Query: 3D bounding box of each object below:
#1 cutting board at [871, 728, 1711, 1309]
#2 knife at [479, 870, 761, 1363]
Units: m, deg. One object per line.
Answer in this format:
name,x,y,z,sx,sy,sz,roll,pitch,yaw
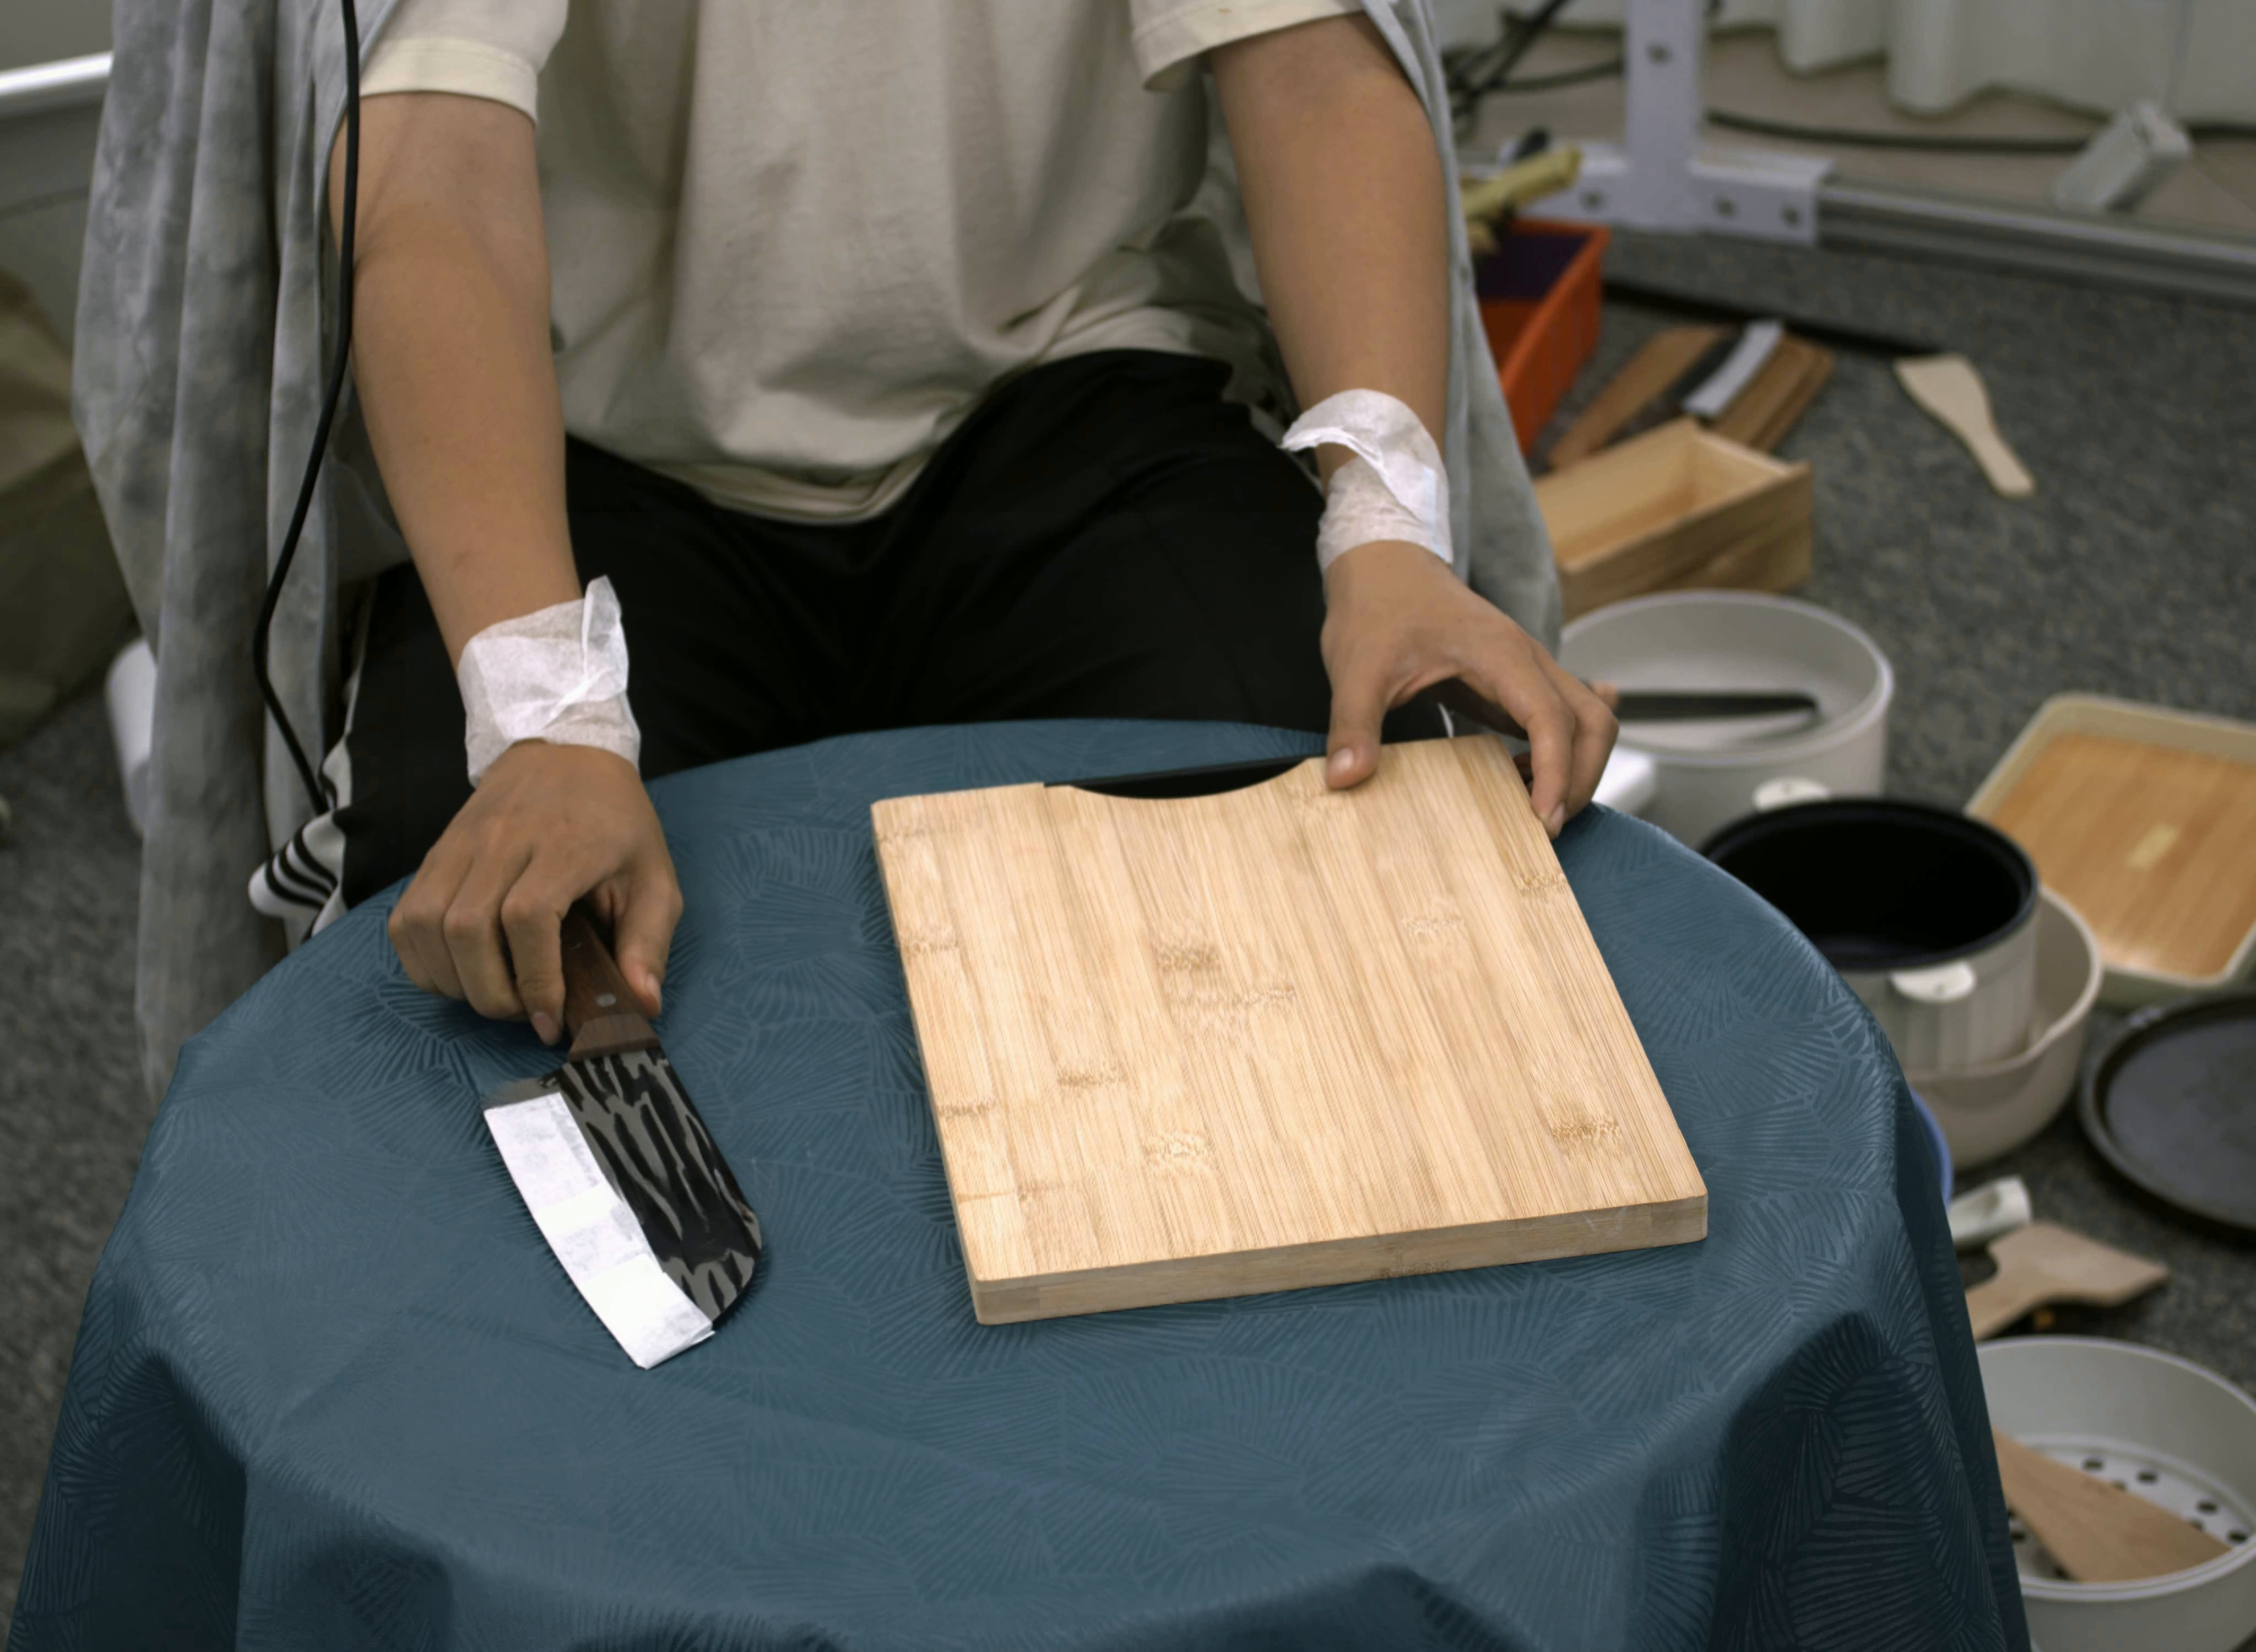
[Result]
cutting board,0.046,0.061,1.956,0.250,0.023,0.353,-6,27,-7
knife,-0.182,0.097,1.906,0.068,0.023,0.302,-14,31,-14
